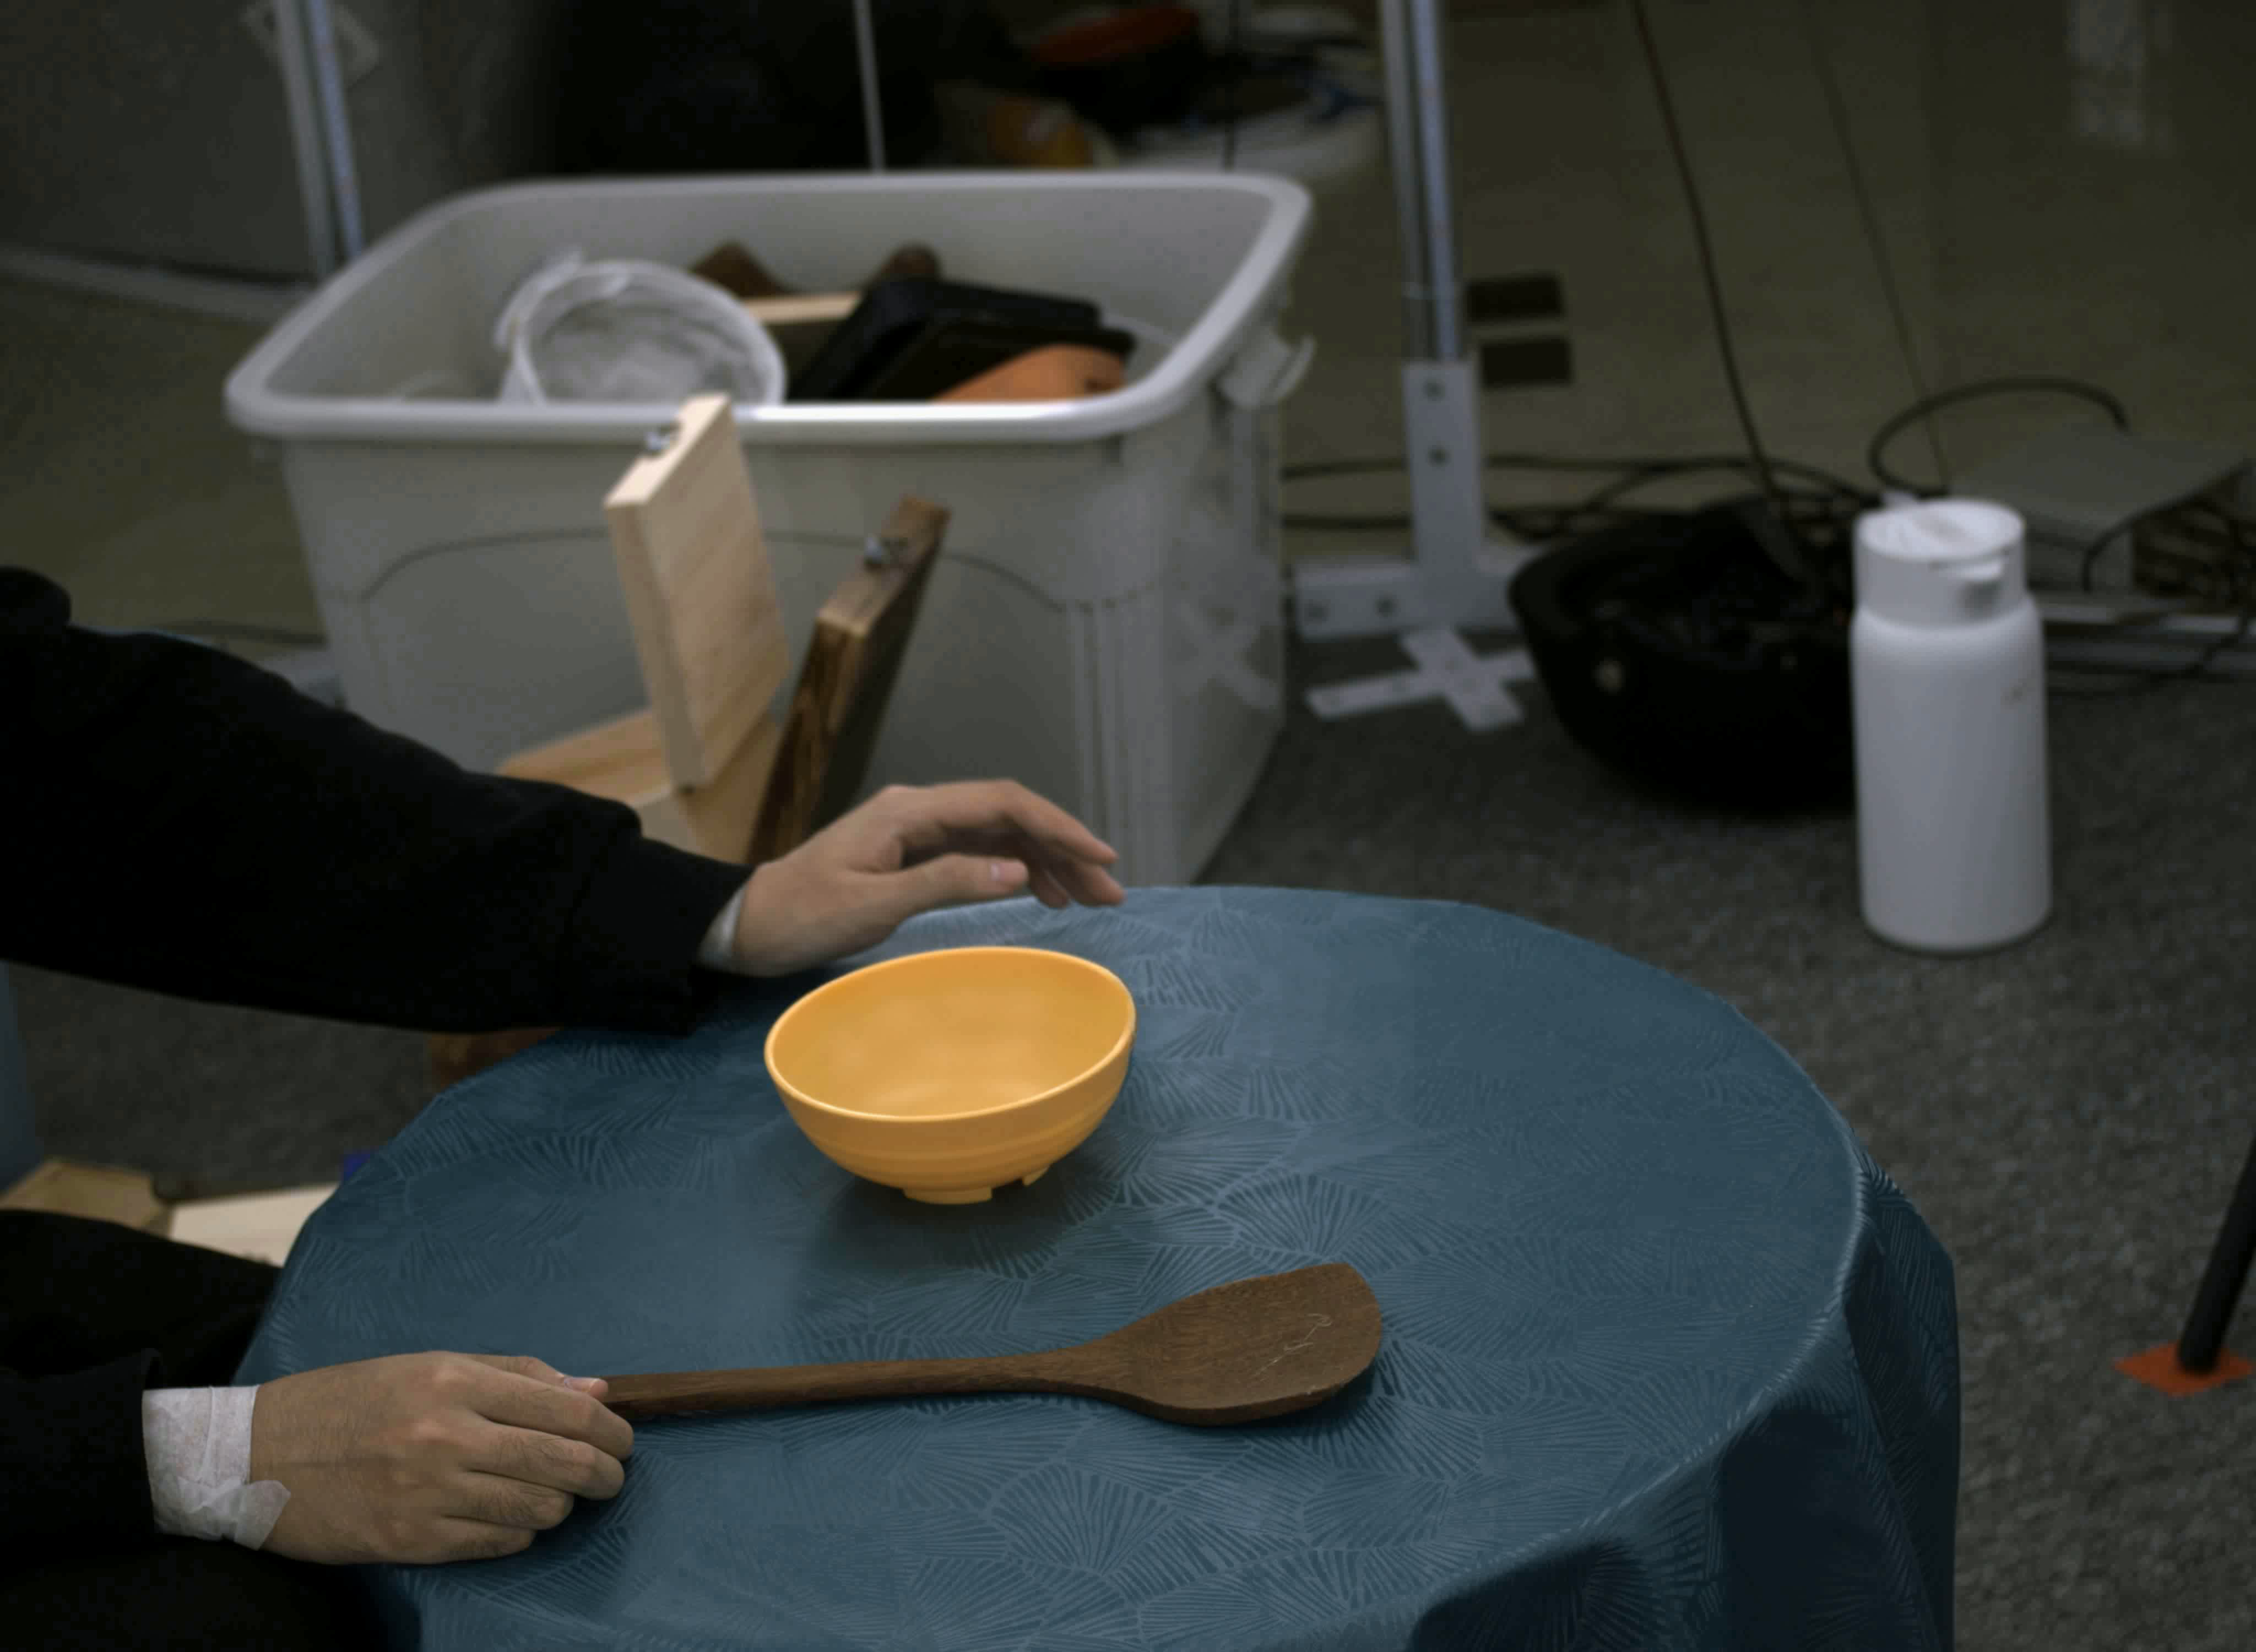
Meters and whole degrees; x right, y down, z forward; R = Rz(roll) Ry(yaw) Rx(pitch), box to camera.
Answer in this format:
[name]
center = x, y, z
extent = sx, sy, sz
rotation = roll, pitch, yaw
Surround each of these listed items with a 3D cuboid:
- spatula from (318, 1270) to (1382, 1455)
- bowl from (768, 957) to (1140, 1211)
[spatula]
center = -0.101, 0.199, 2.032
extent = 0.385, 0.016, 0.095
rotation = -5, 24, 4
[bowl]
center = -0.063, 0.106, 2.173
extent = 0.145, 0.061, 0.143
rotation = -7, 24, 3
